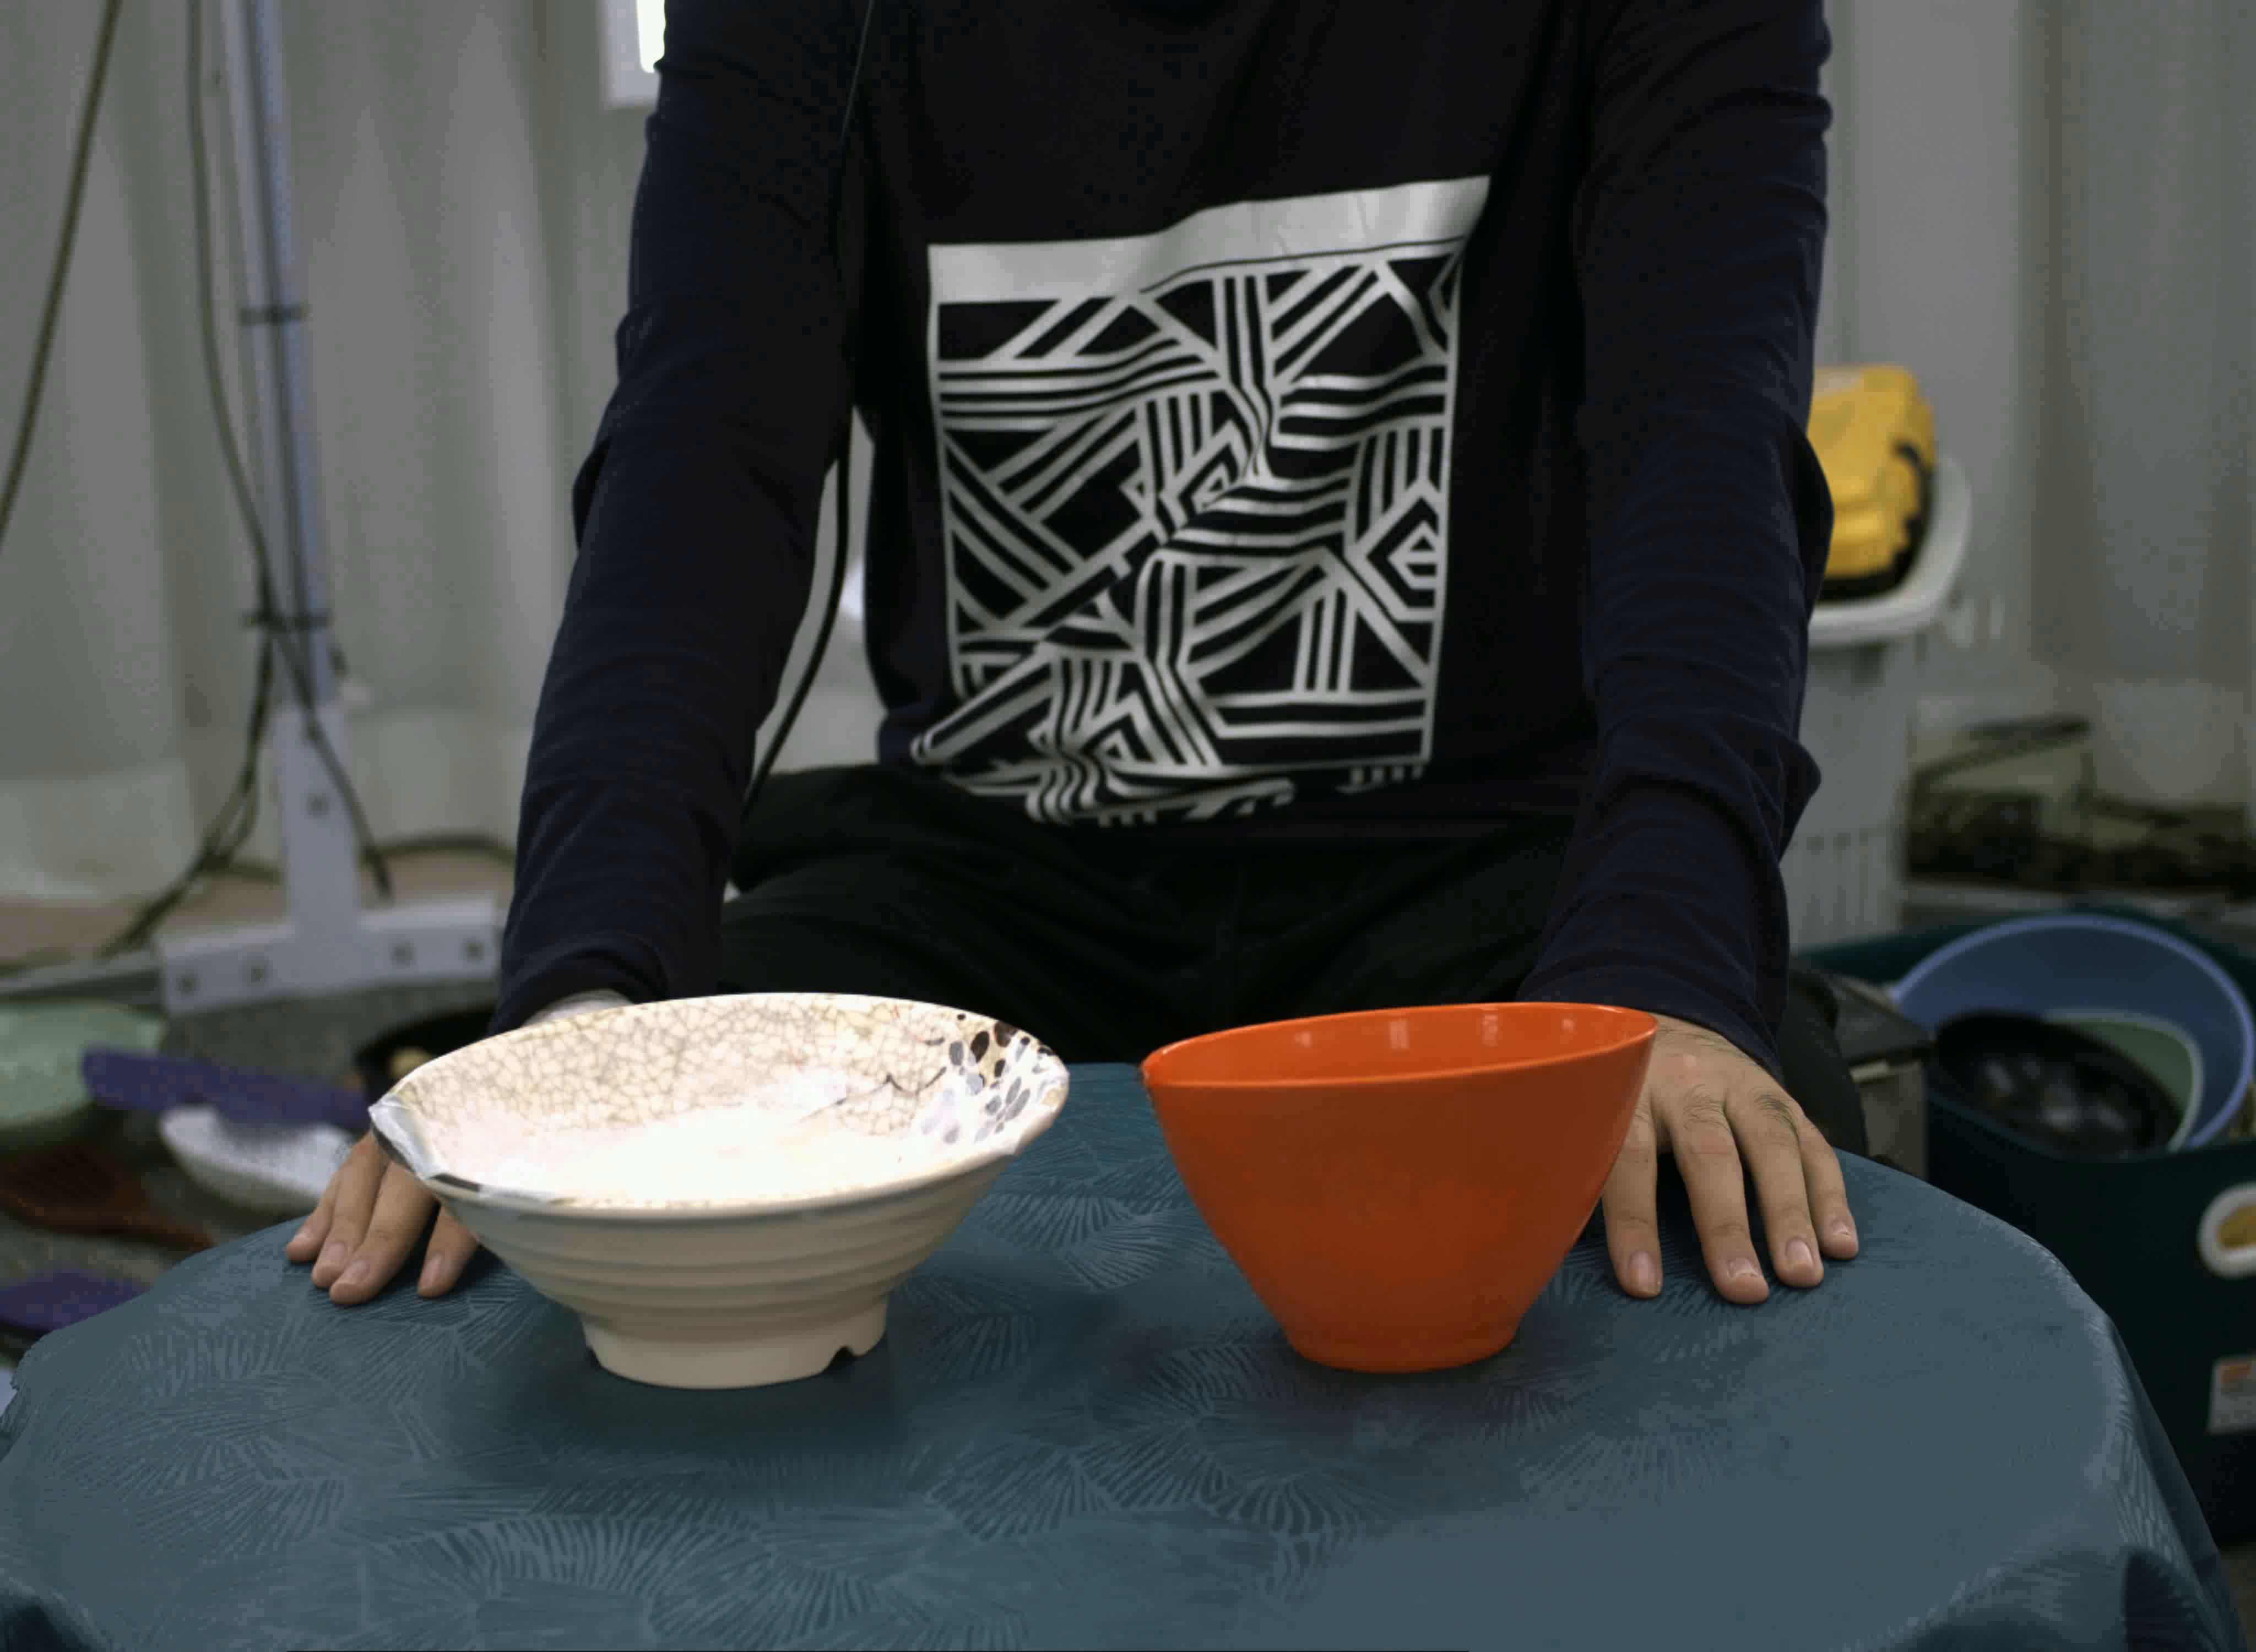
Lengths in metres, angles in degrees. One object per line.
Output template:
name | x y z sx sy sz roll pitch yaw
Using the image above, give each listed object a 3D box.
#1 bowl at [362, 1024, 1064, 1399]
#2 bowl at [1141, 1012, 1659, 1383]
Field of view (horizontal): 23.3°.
bowl | -0.120 0.118 1.594 0.203 0.078 0.205 0 11 0
bowl | 0.078 0.103 1.557 0.147 0.104 0.149 -3 12 0
